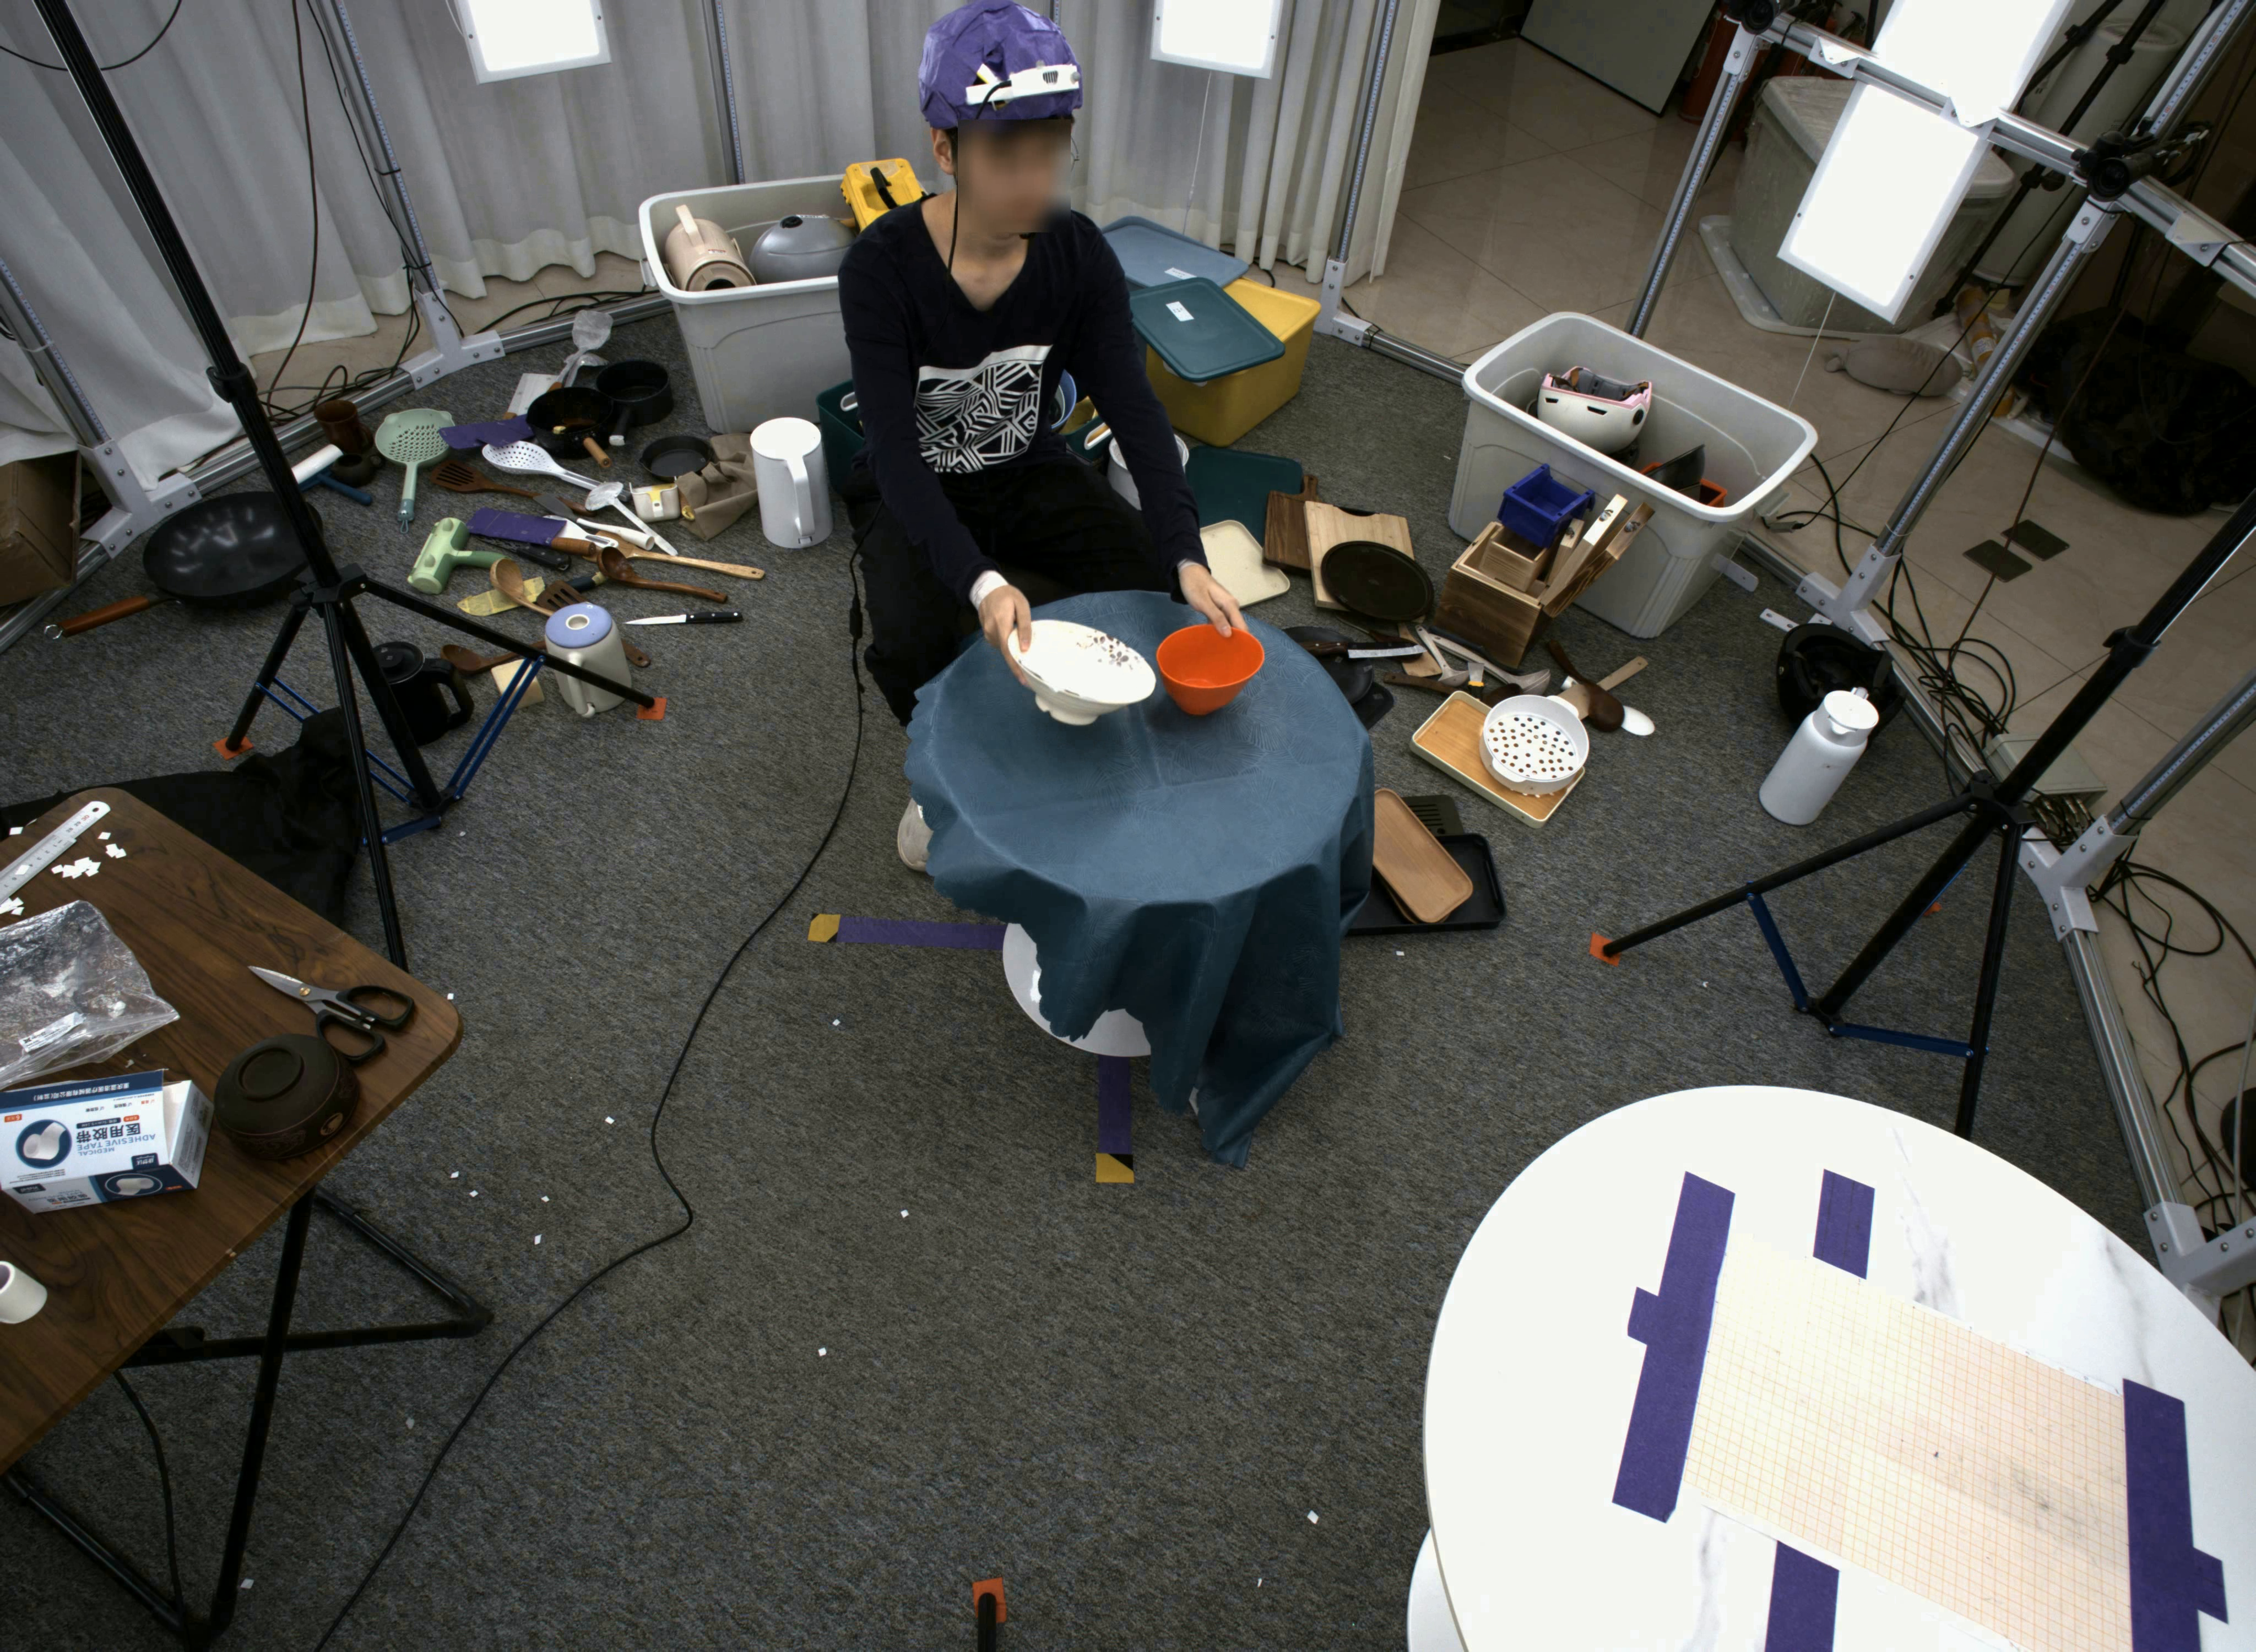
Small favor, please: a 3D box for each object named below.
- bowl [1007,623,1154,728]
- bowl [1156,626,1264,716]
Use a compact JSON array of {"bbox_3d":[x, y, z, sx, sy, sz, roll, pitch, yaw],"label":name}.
[{"bbox_3d":[-0.072,-0.187,1.715,0.203,0.076,0.208,15,31,-10],"label":"bowl"},{"bbox_3d":[0.110,-0.207,1.790,0.148,0.102,0.152,1,48,-2],"label":"bowl"}]
